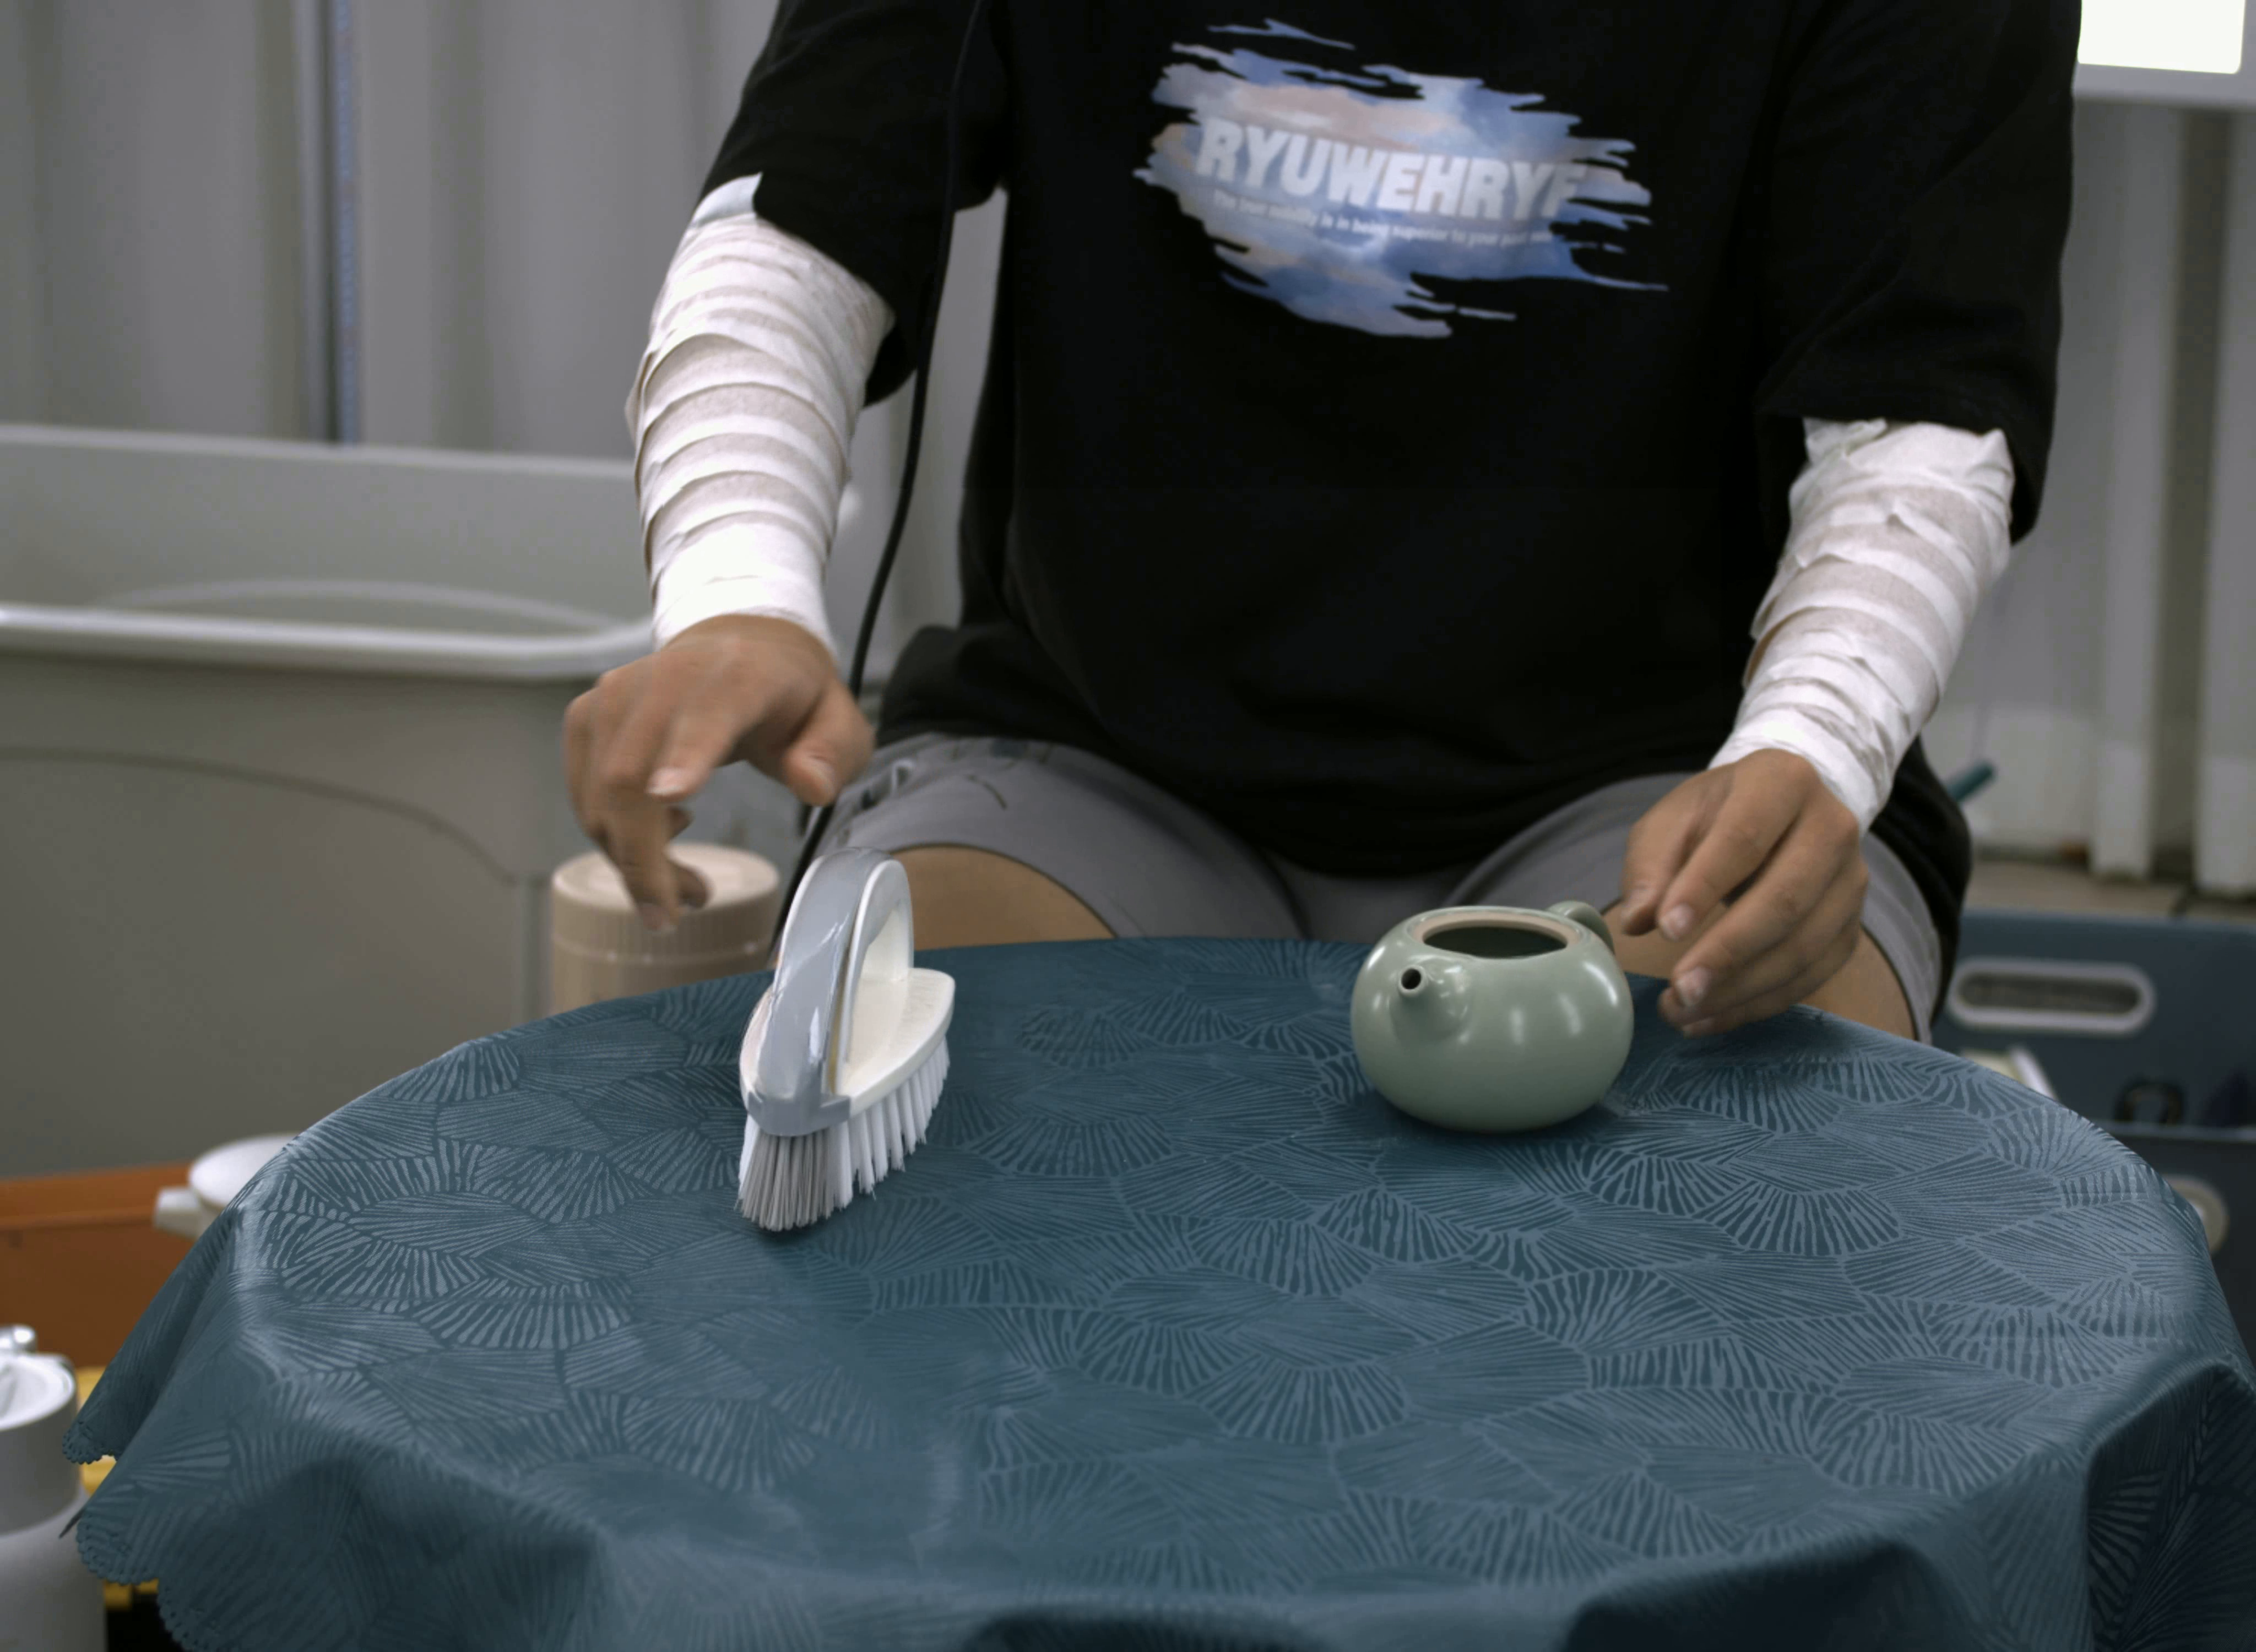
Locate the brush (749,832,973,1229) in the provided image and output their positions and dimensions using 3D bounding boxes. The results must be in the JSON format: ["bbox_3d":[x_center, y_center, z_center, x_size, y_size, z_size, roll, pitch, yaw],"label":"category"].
[{"bbox_3d":[-0.090,0.058,1.644,0.061,0.095,0.175,0,17,9],"label":"brush"}]

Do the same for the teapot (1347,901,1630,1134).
[{"bbox_3d":[0.122,0.061,1.704,0.090,0.061,0.129,10,17,37],"label":"teapot"}]
